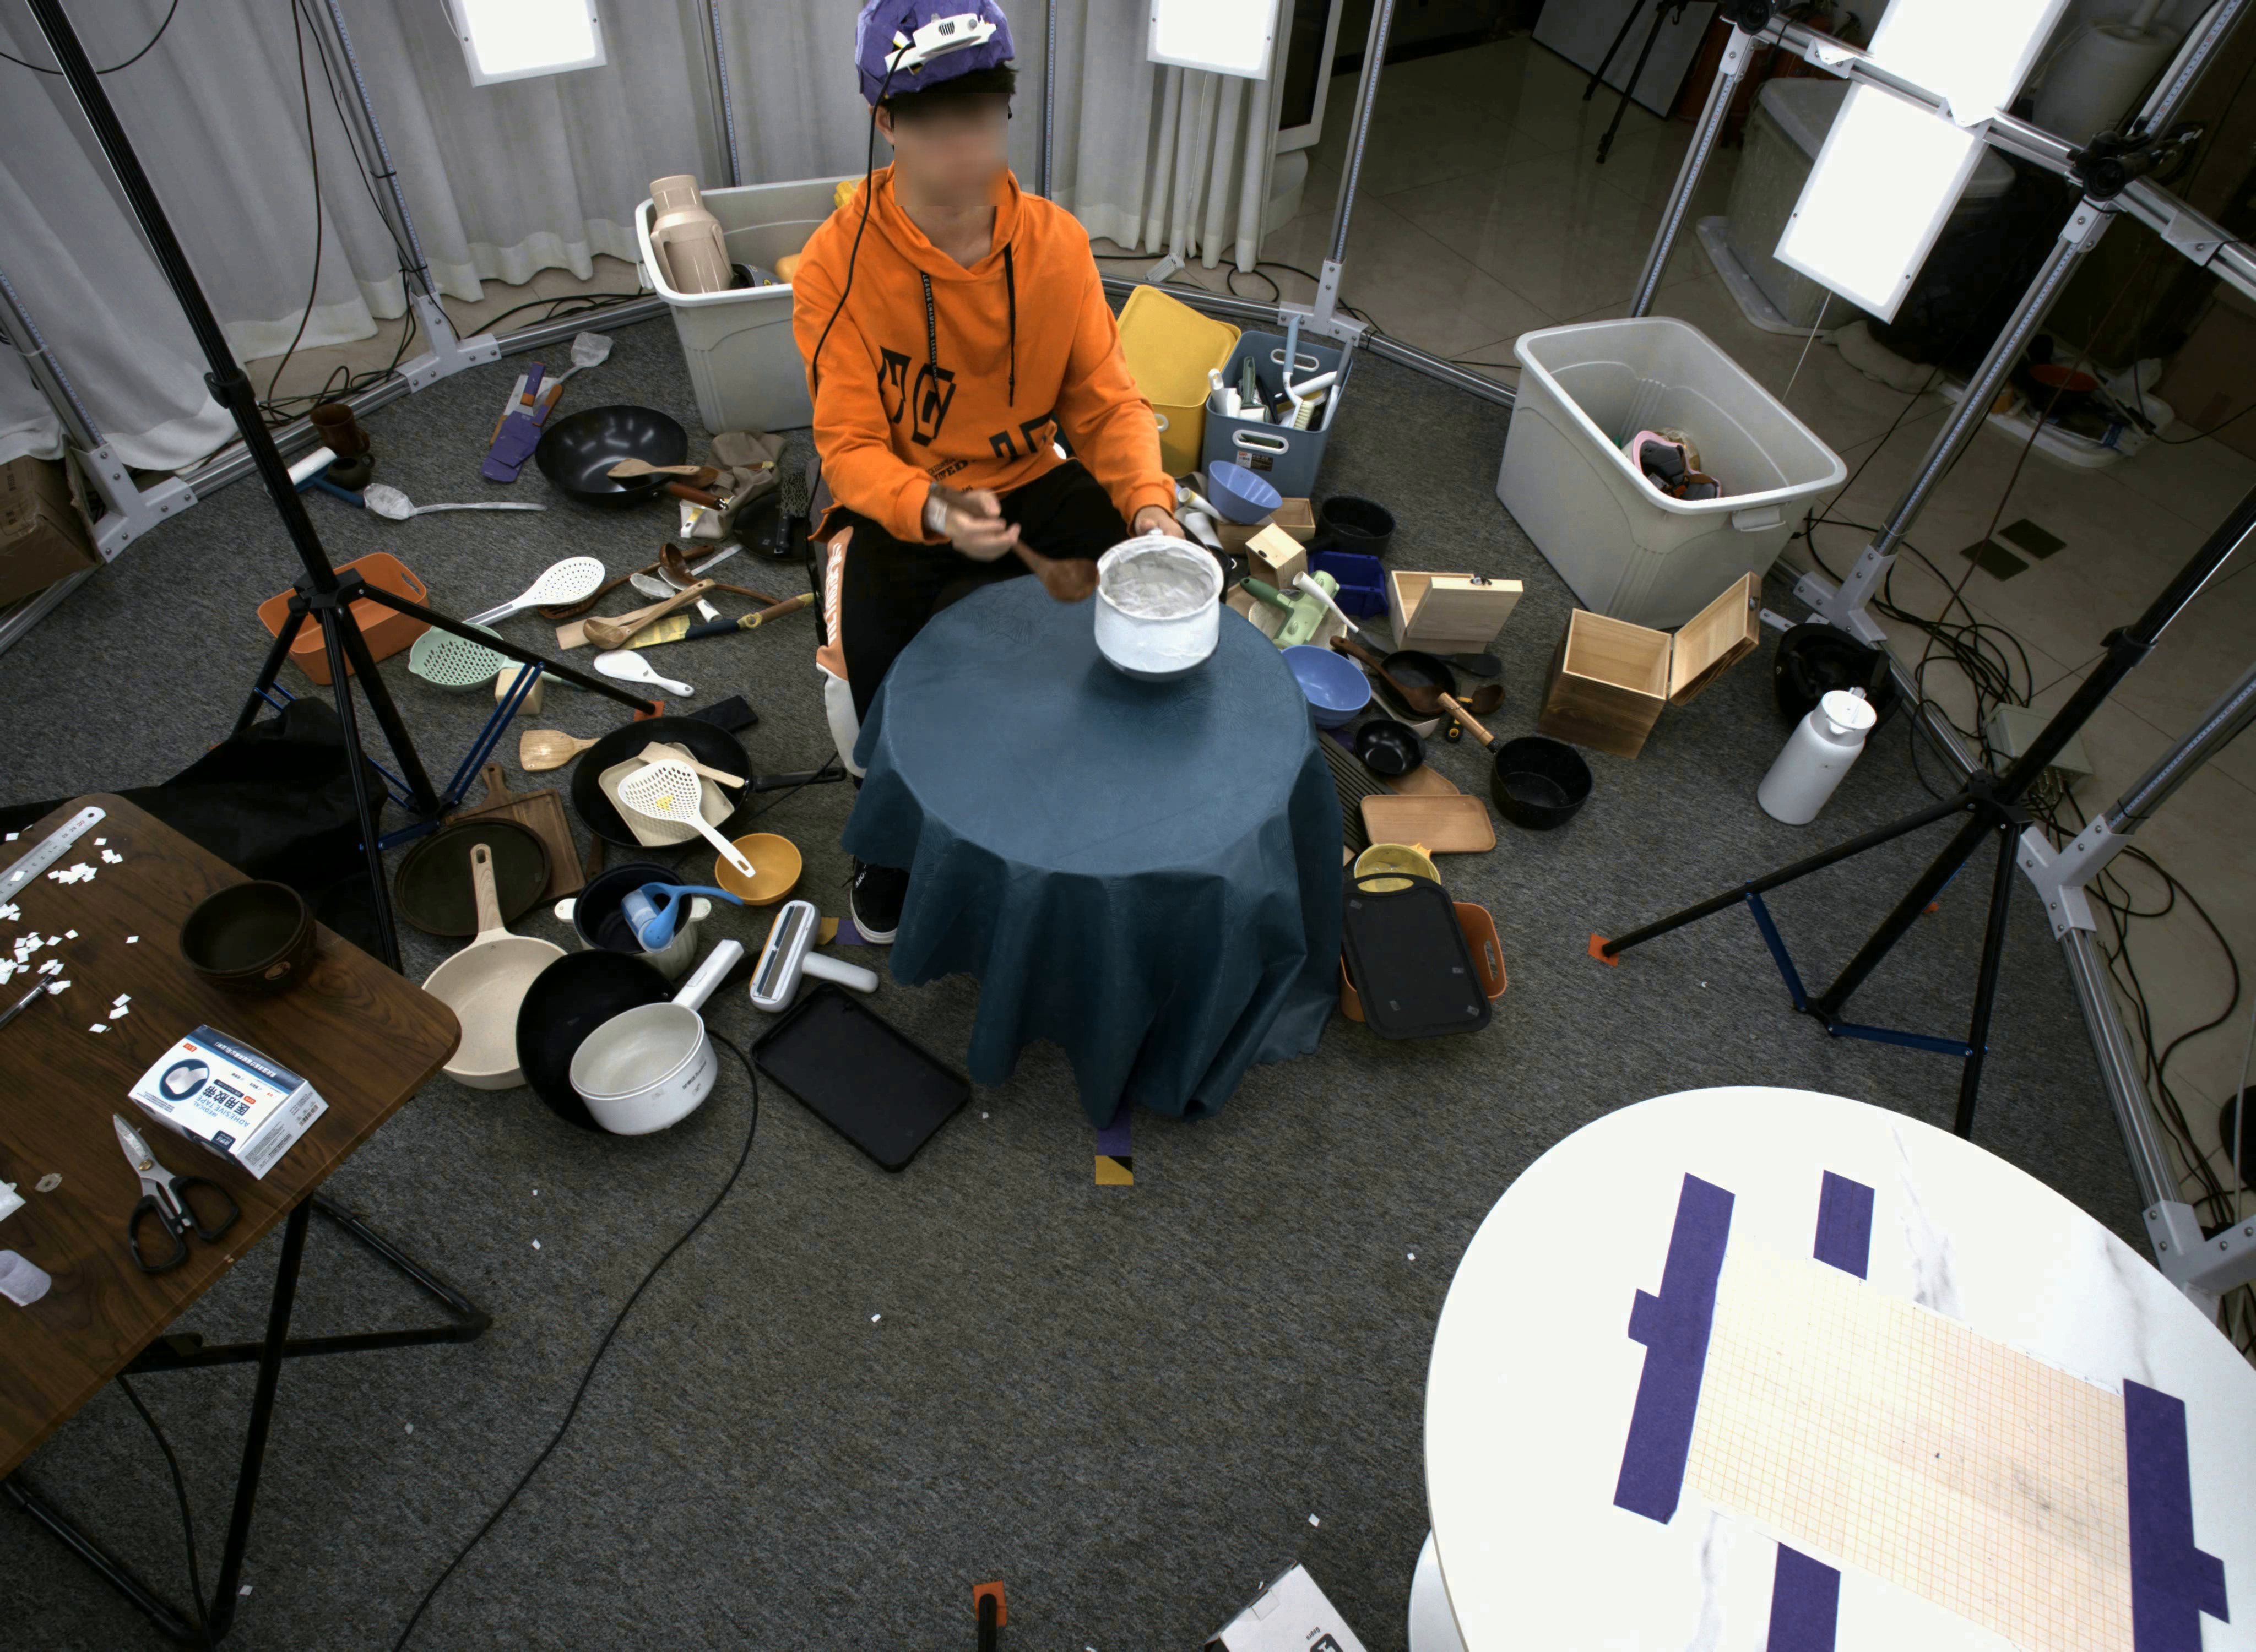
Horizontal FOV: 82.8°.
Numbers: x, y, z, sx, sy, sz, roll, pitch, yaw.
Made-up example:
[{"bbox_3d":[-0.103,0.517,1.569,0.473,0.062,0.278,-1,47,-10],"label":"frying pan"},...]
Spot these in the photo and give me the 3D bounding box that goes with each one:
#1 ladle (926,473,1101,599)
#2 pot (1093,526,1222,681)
[{"bbox_3d":[-0.149,-0.388,1.684,0.259,0.064,0.078,39,52,-3],"label":"ladle"},{"bbox_3d":[0.037,-0.323,1.815,0.178,0.133,0.239,-2,49,-2],"label":"pot"}]
